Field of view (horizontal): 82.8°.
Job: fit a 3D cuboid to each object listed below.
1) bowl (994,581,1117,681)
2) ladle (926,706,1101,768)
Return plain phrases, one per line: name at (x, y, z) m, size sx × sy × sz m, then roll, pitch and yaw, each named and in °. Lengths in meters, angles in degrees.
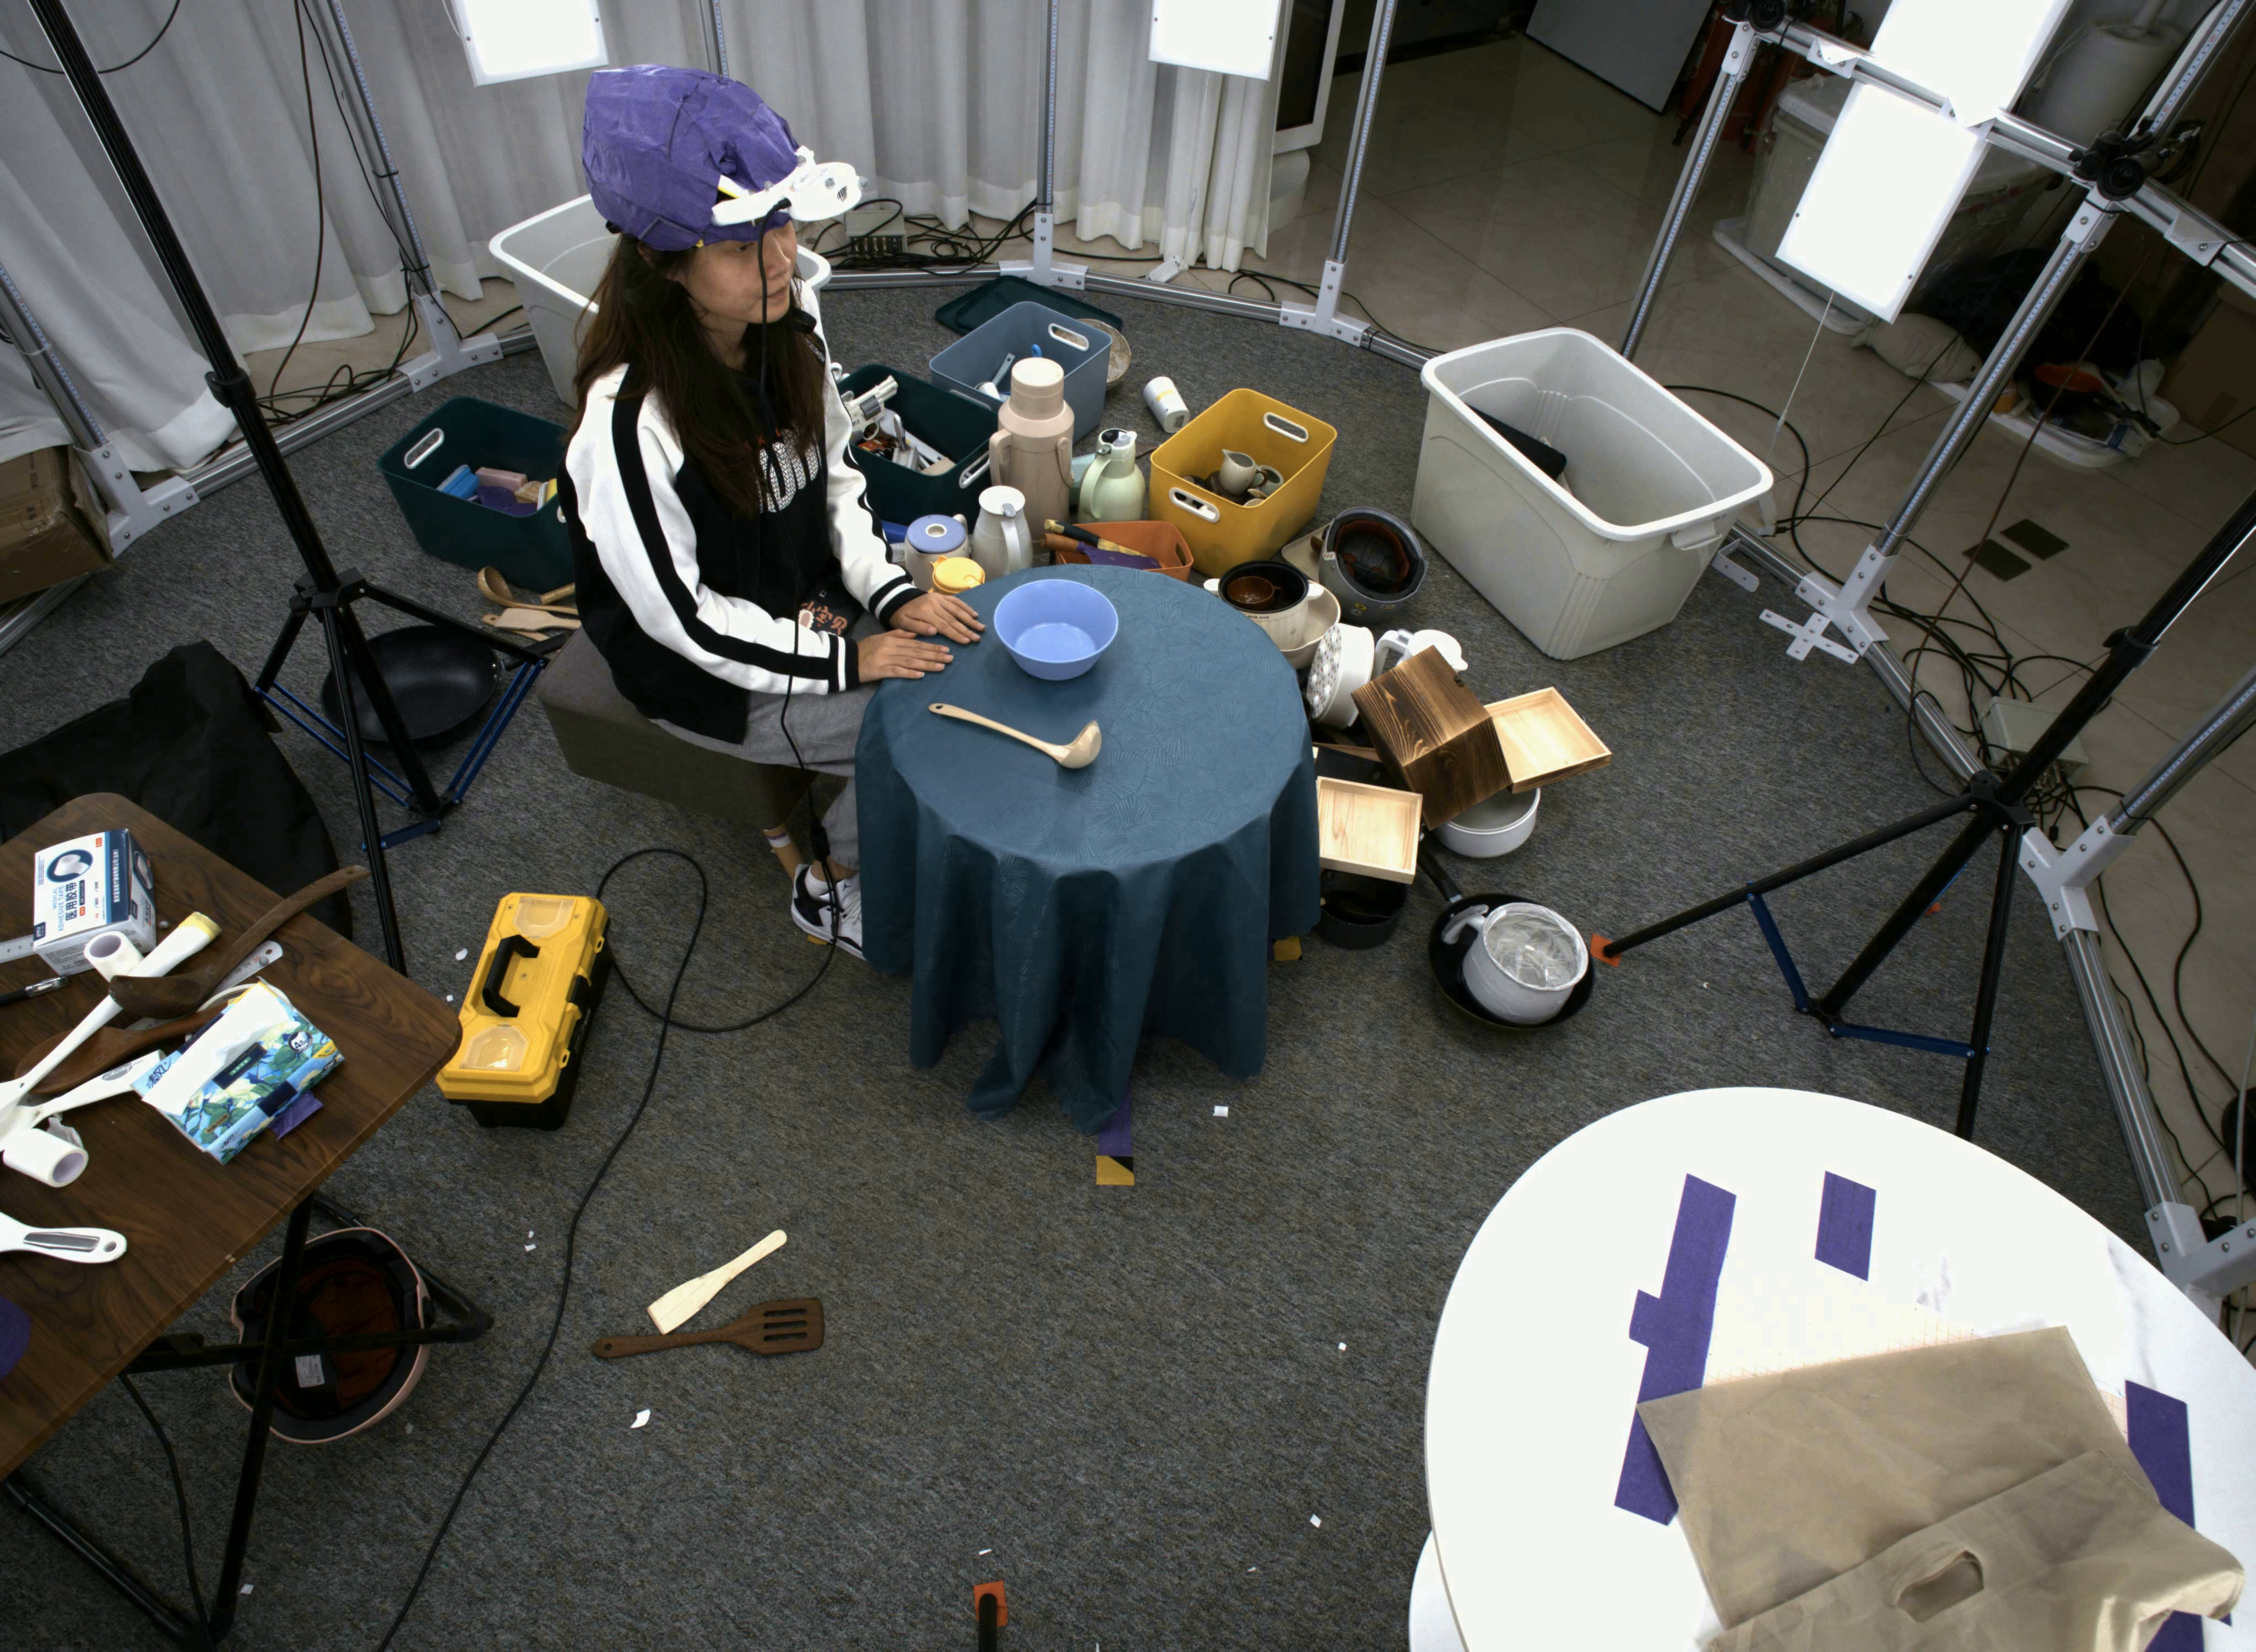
bowl at (-0.105, -0.272, 1.854) m, size 0.176 × 0.068 × 0.180 m, roll 2°, pitch 48°, yaw -3°
ladle at (-0.159, -0.144, 1.737) m, size 0.255 × 0.071 × 0.073 m, roll 19°, pitch 50°, yaw 12°
